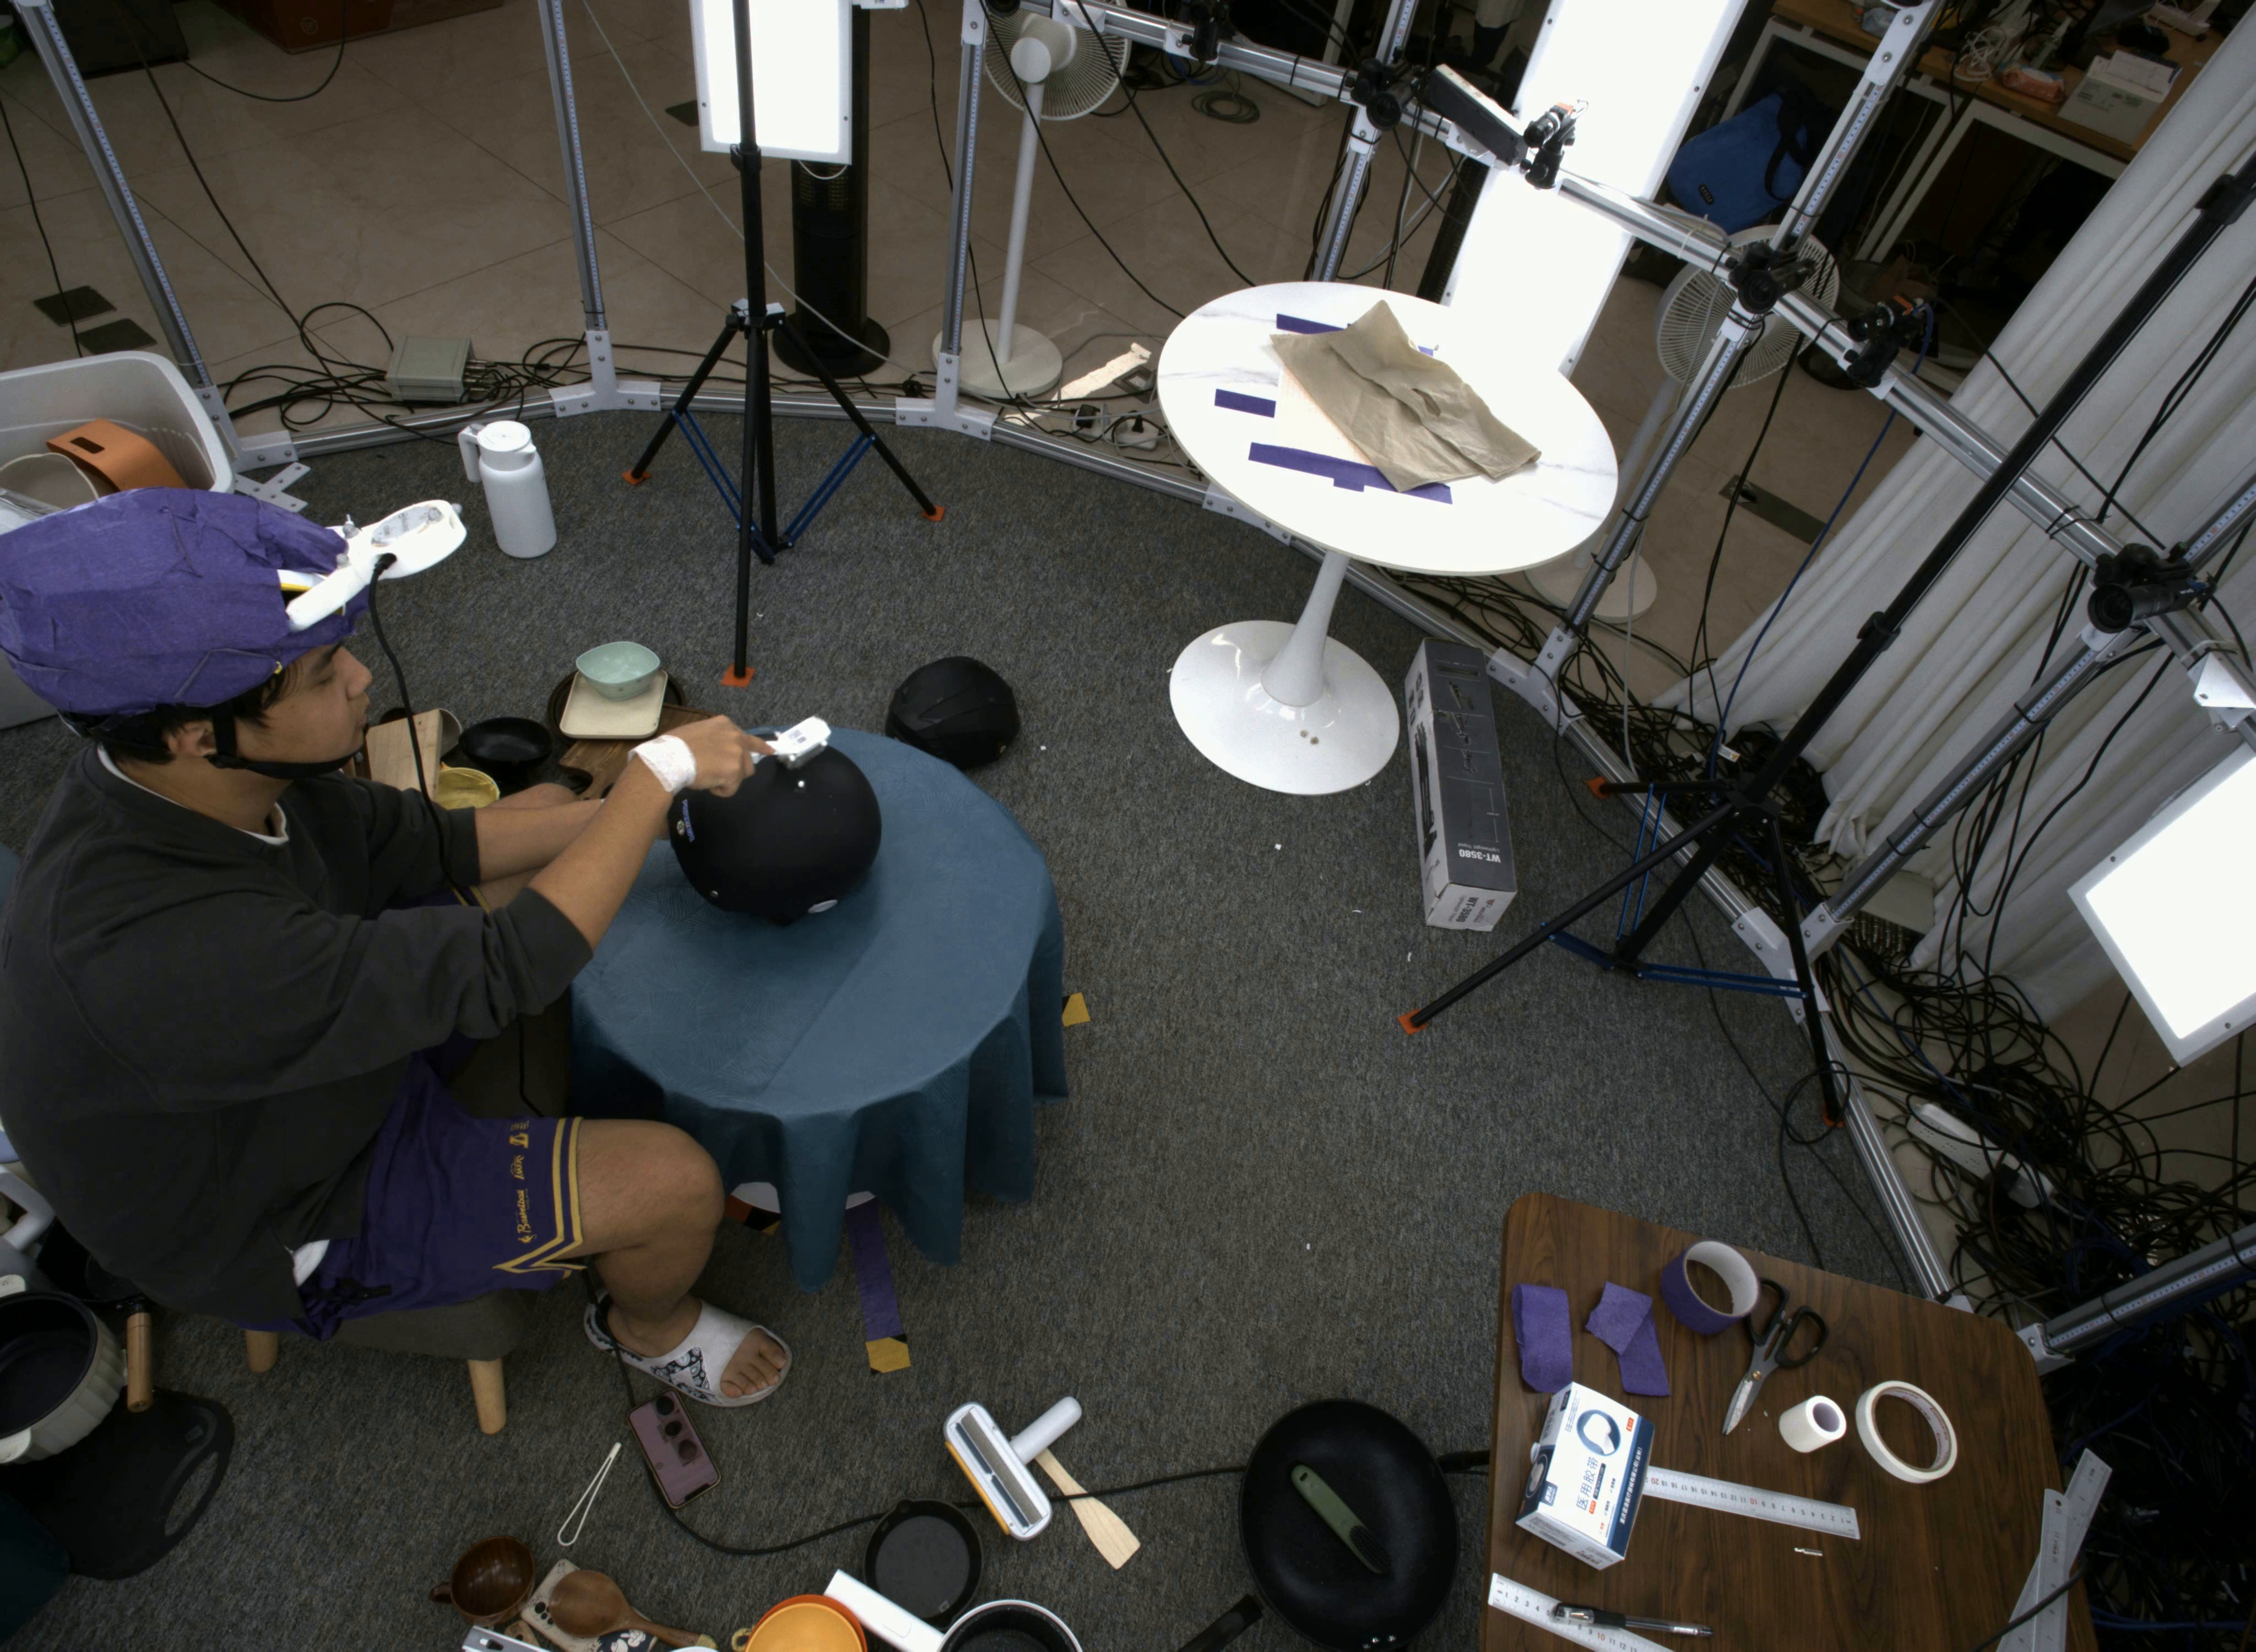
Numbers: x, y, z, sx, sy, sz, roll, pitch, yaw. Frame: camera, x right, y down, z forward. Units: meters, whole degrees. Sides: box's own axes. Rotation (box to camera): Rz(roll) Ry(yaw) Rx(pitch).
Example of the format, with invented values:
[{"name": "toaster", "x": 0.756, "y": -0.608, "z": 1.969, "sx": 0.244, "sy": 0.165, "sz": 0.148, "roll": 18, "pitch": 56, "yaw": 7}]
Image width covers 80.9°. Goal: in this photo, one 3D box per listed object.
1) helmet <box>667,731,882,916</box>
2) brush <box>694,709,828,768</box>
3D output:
[{"name": "helmet", "x": -0.416, "y": -0.016, "z": 1.587, "sx": 0.278, "sy": 0.165, "sz": 0.228, "roll": 2, "pitch": 67, "yaw": -38}, {"name": "brush", "x": -0.415, "y": -0.085, "z": 1.454, "sx": 0.034, "sy": 0.050, "sz": 0.244, "roll": 38, "pitch": 24, "yaw": 6}]
